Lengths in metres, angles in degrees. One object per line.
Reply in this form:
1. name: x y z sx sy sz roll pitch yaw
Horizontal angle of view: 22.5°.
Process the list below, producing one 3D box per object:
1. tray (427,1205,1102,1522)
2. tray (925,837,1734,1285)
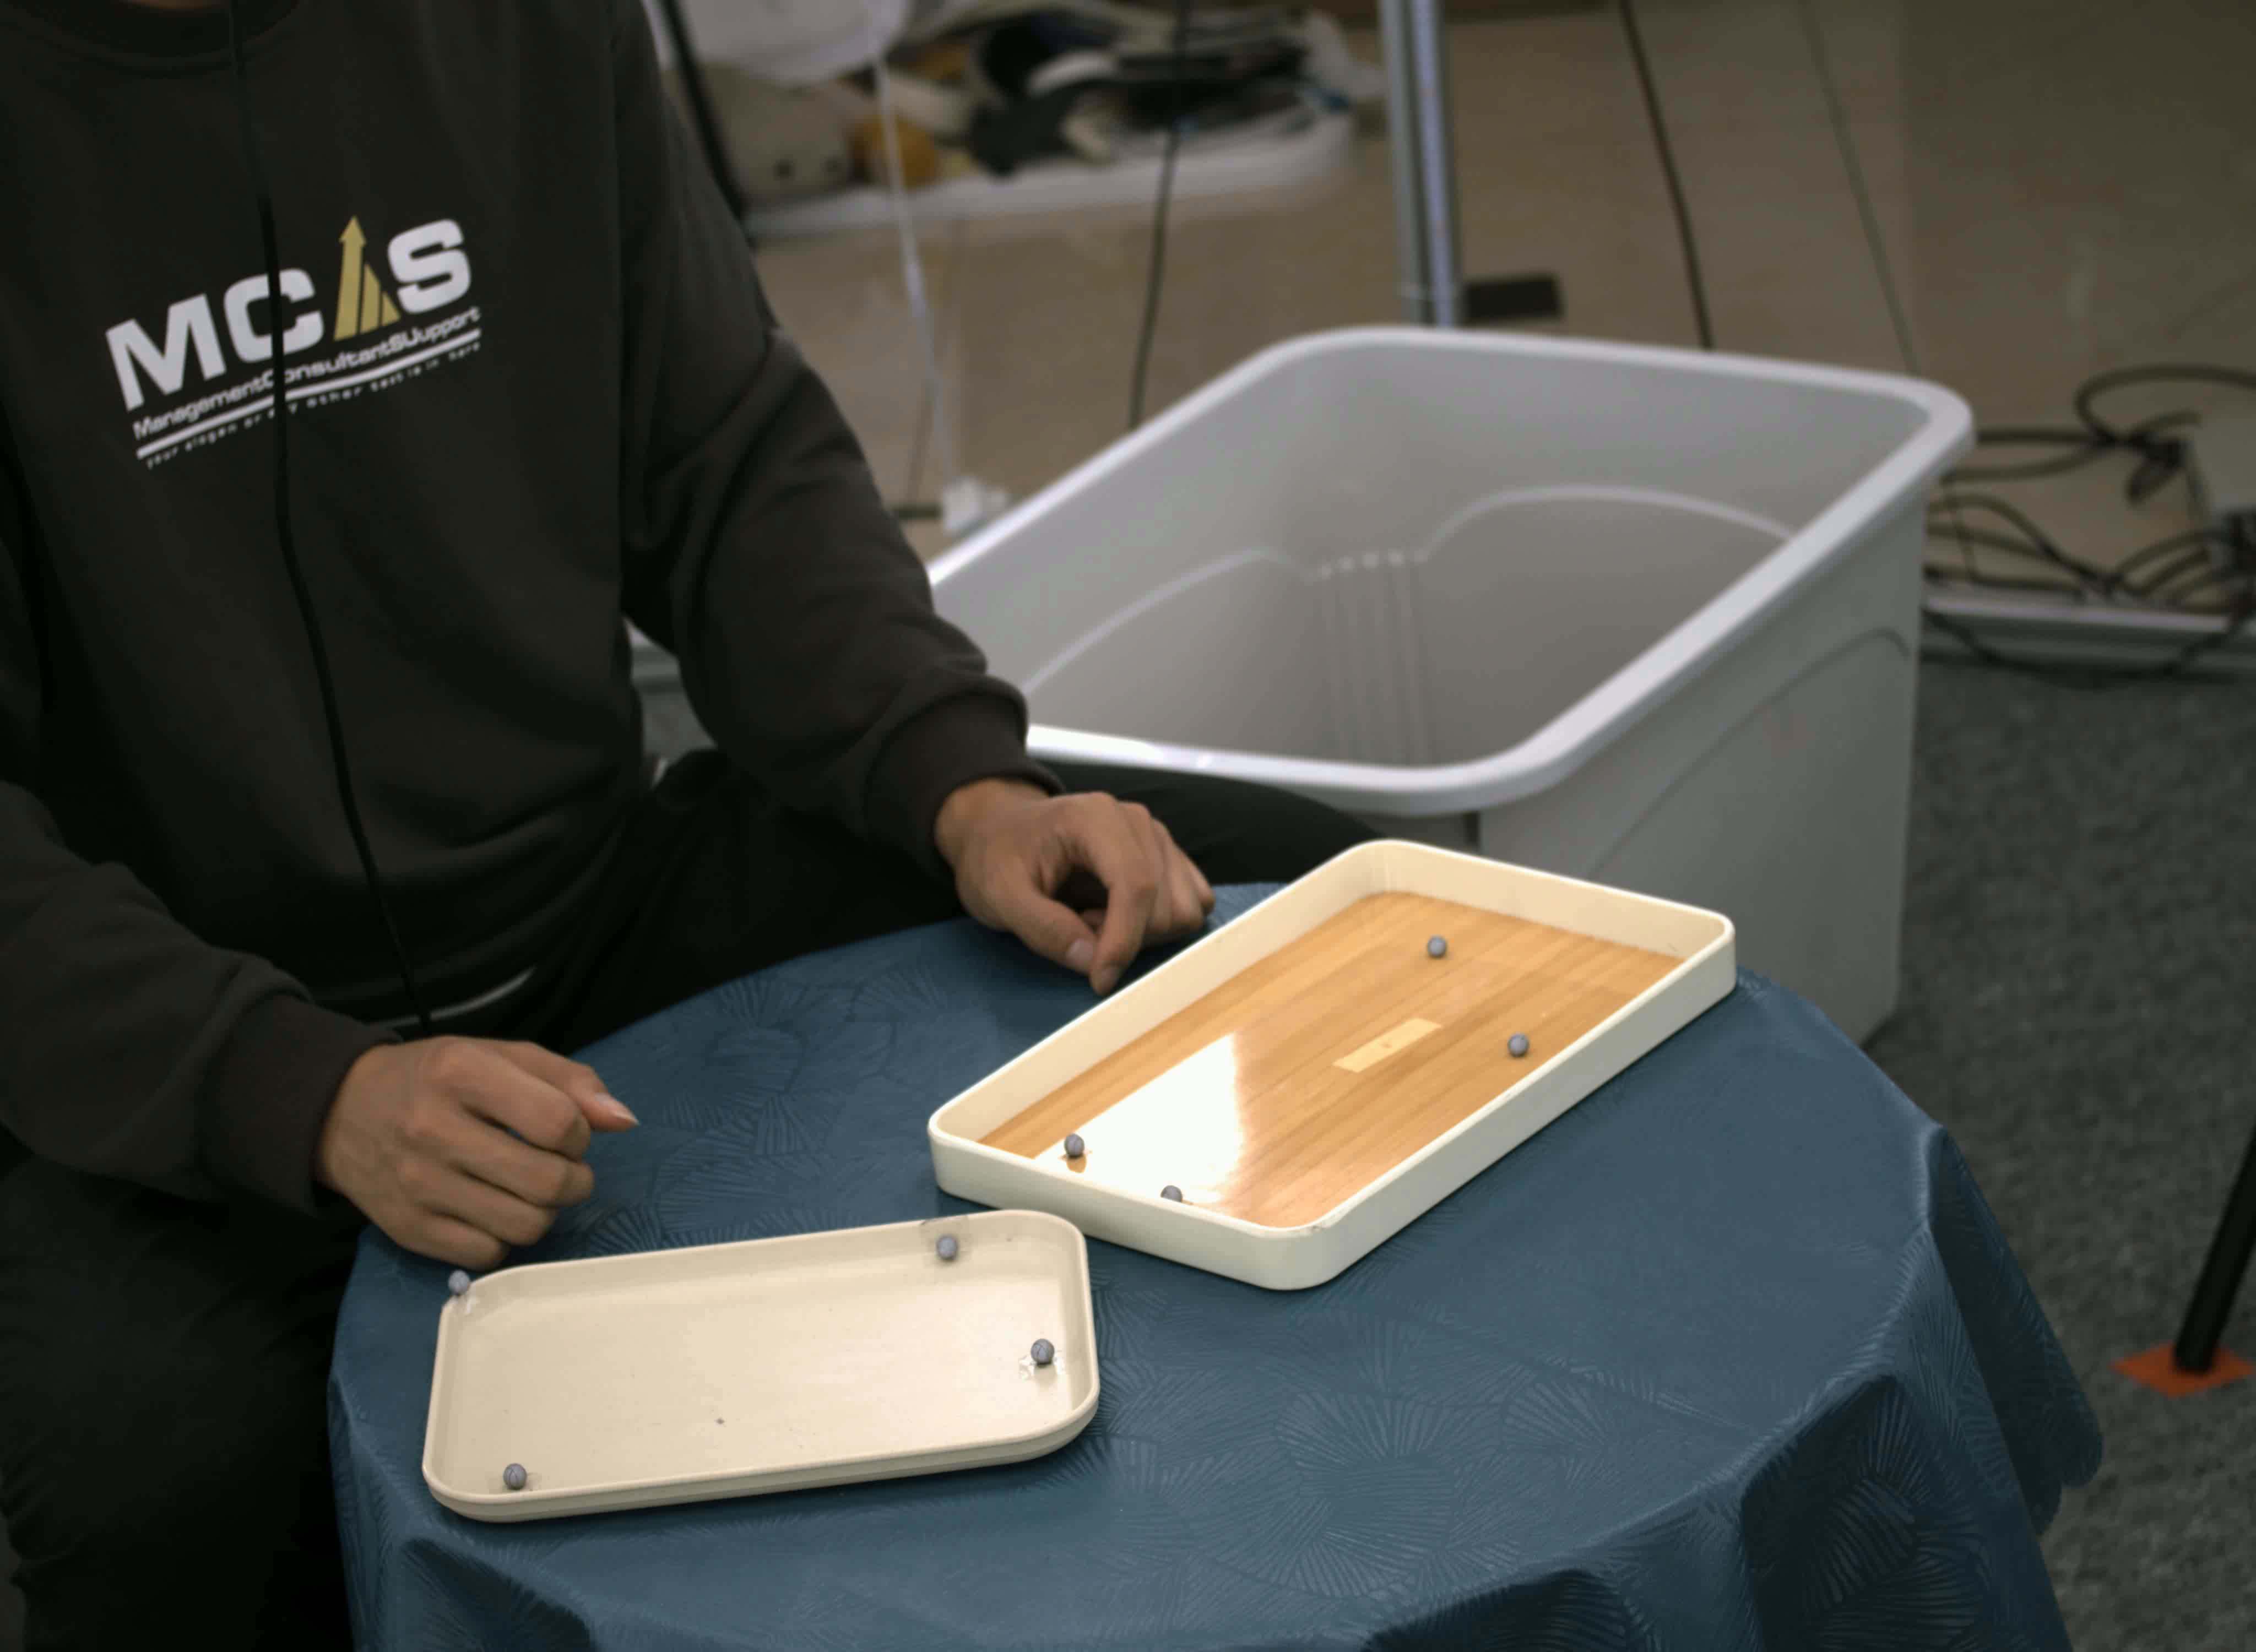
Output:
1. tray: -0.130 0.194 2.039 0.239 0.018 0.169 -7 25 -1
2. tray: 0.082 0.087 2.209 0.190 0.028 0.297 14 31 37
